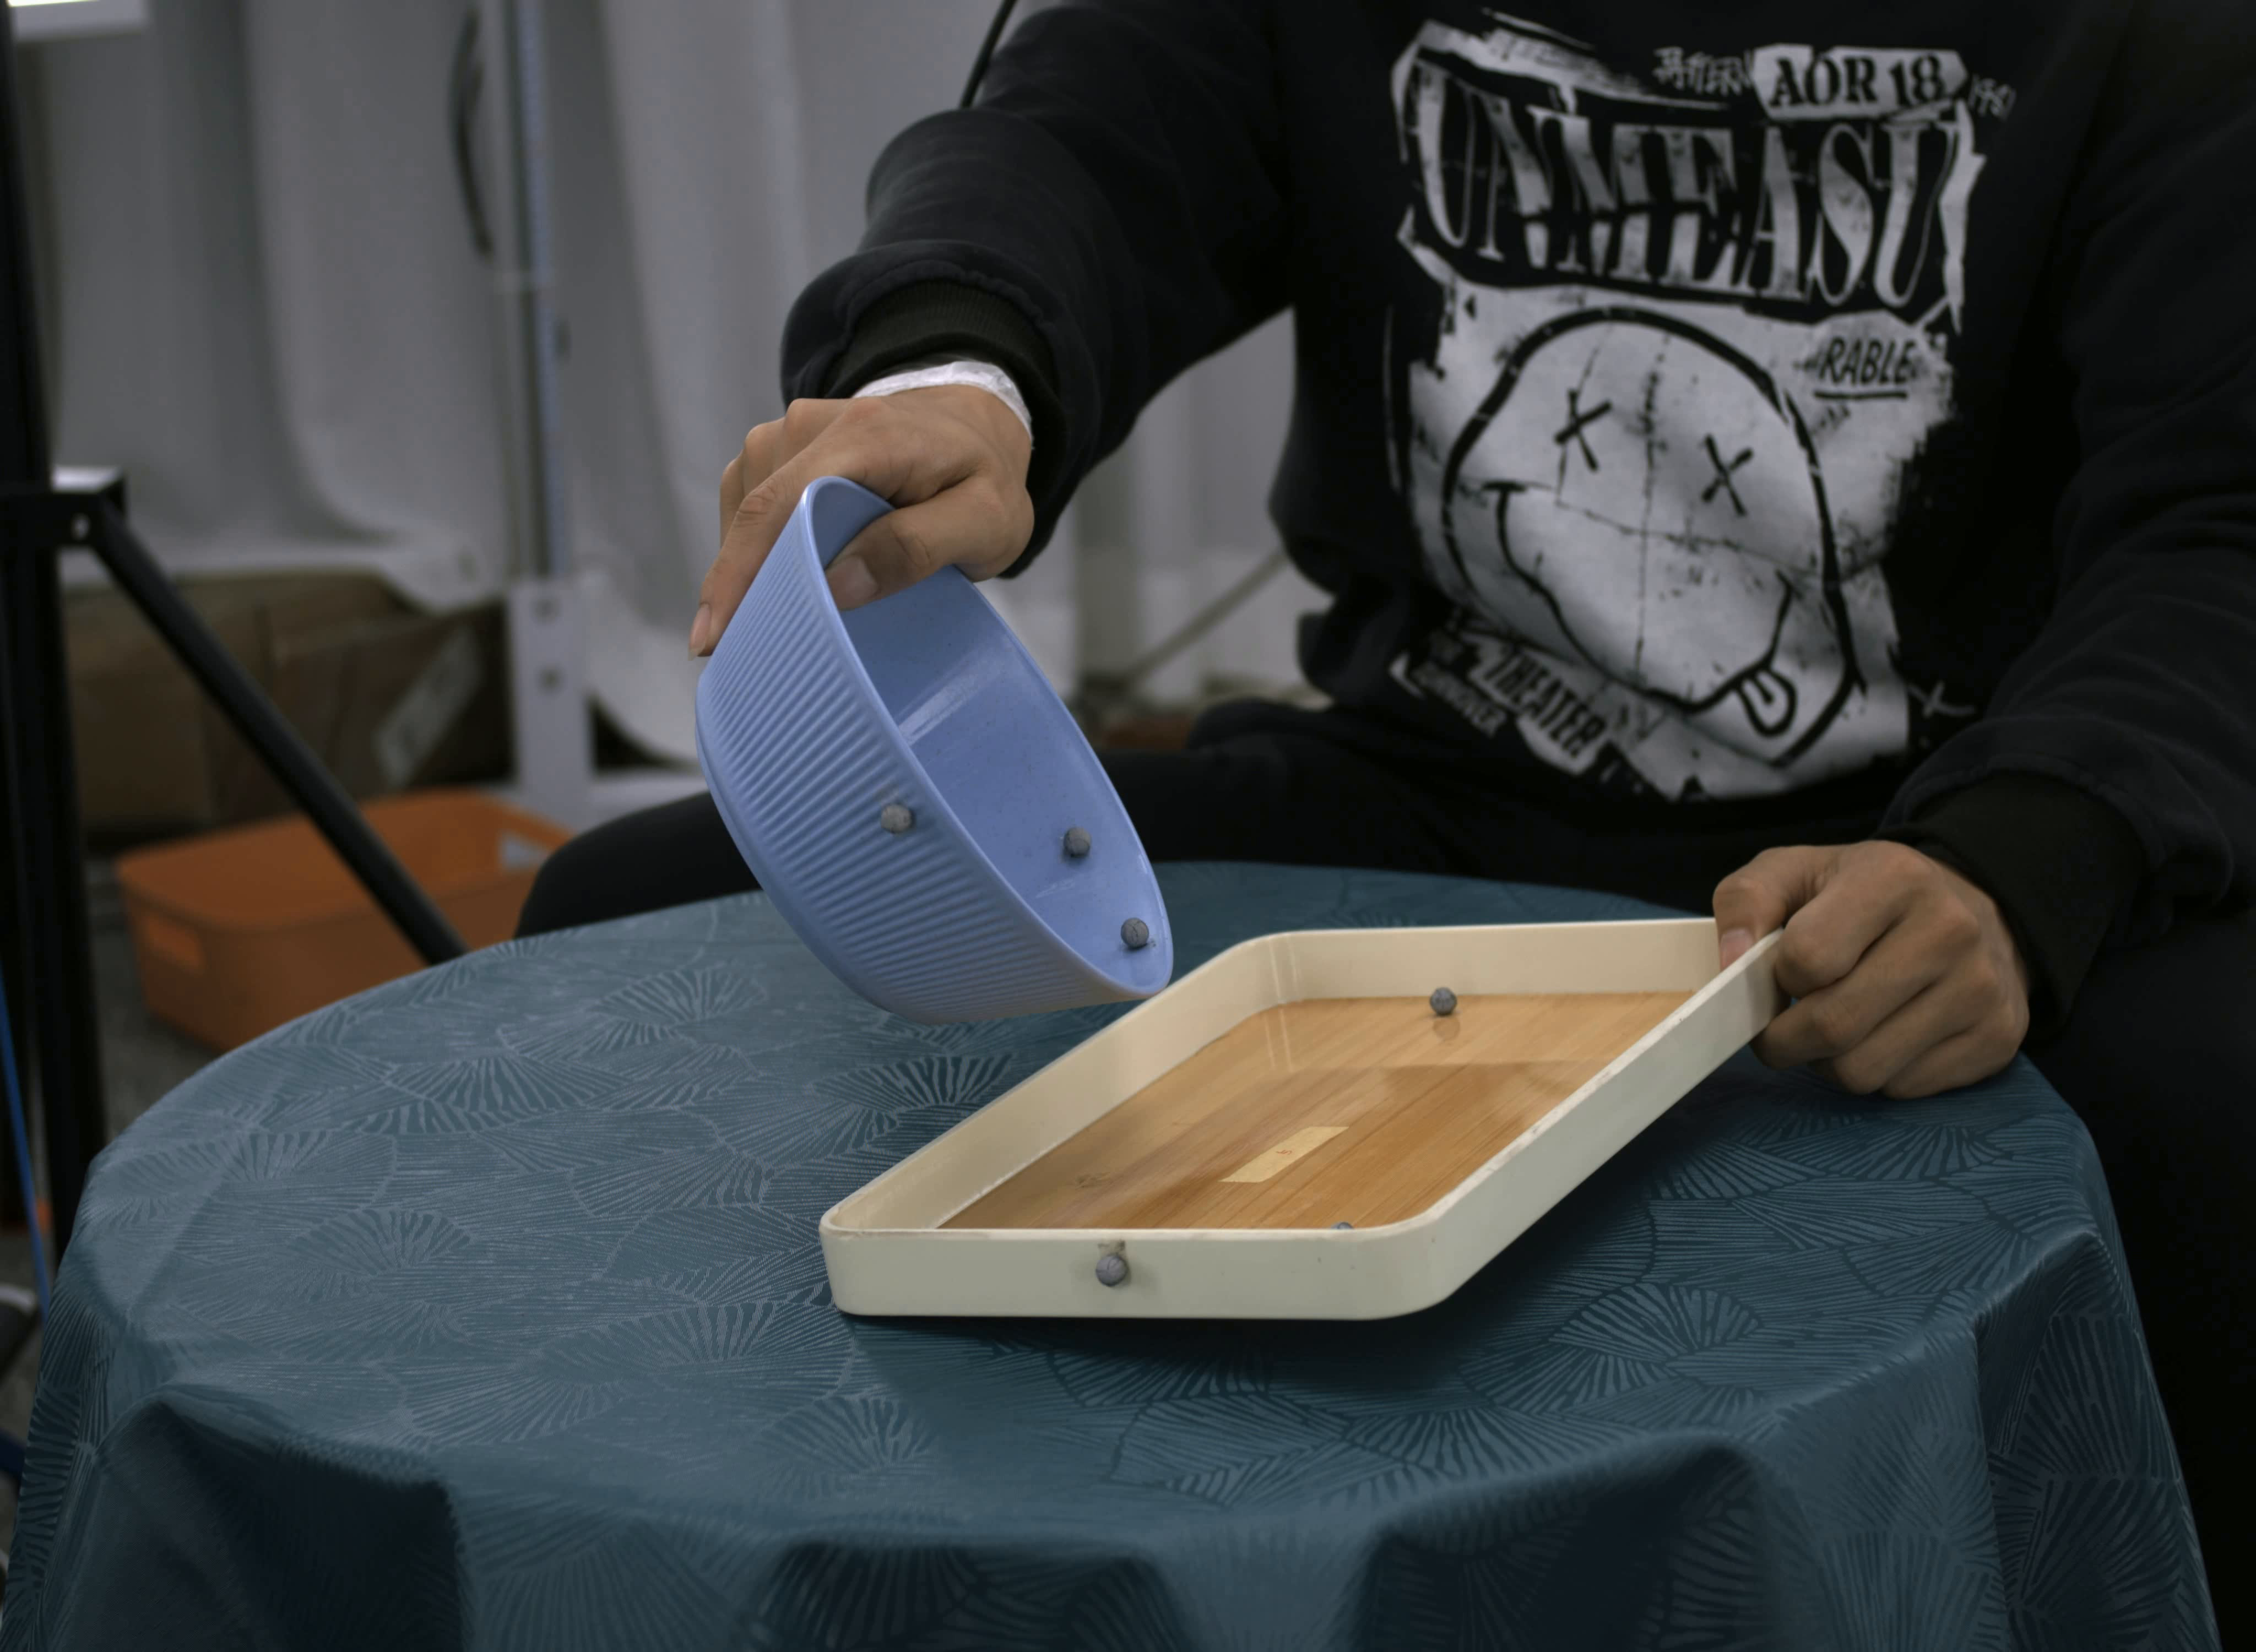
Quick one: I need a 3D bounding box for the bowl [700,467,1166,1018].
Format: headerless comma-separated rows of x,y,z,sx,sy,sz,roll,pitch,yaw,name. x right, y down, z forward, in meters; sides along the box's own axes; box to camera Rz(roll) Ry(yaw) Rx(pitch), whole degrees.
-0.064,-0.012,1.527,0.070,0.175,0.176,-33,10,14,bowl

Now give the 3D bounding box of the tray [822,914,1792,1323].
0.060,0.083,1.546,0.195,0.027,0.295,-3,14,29,tray
